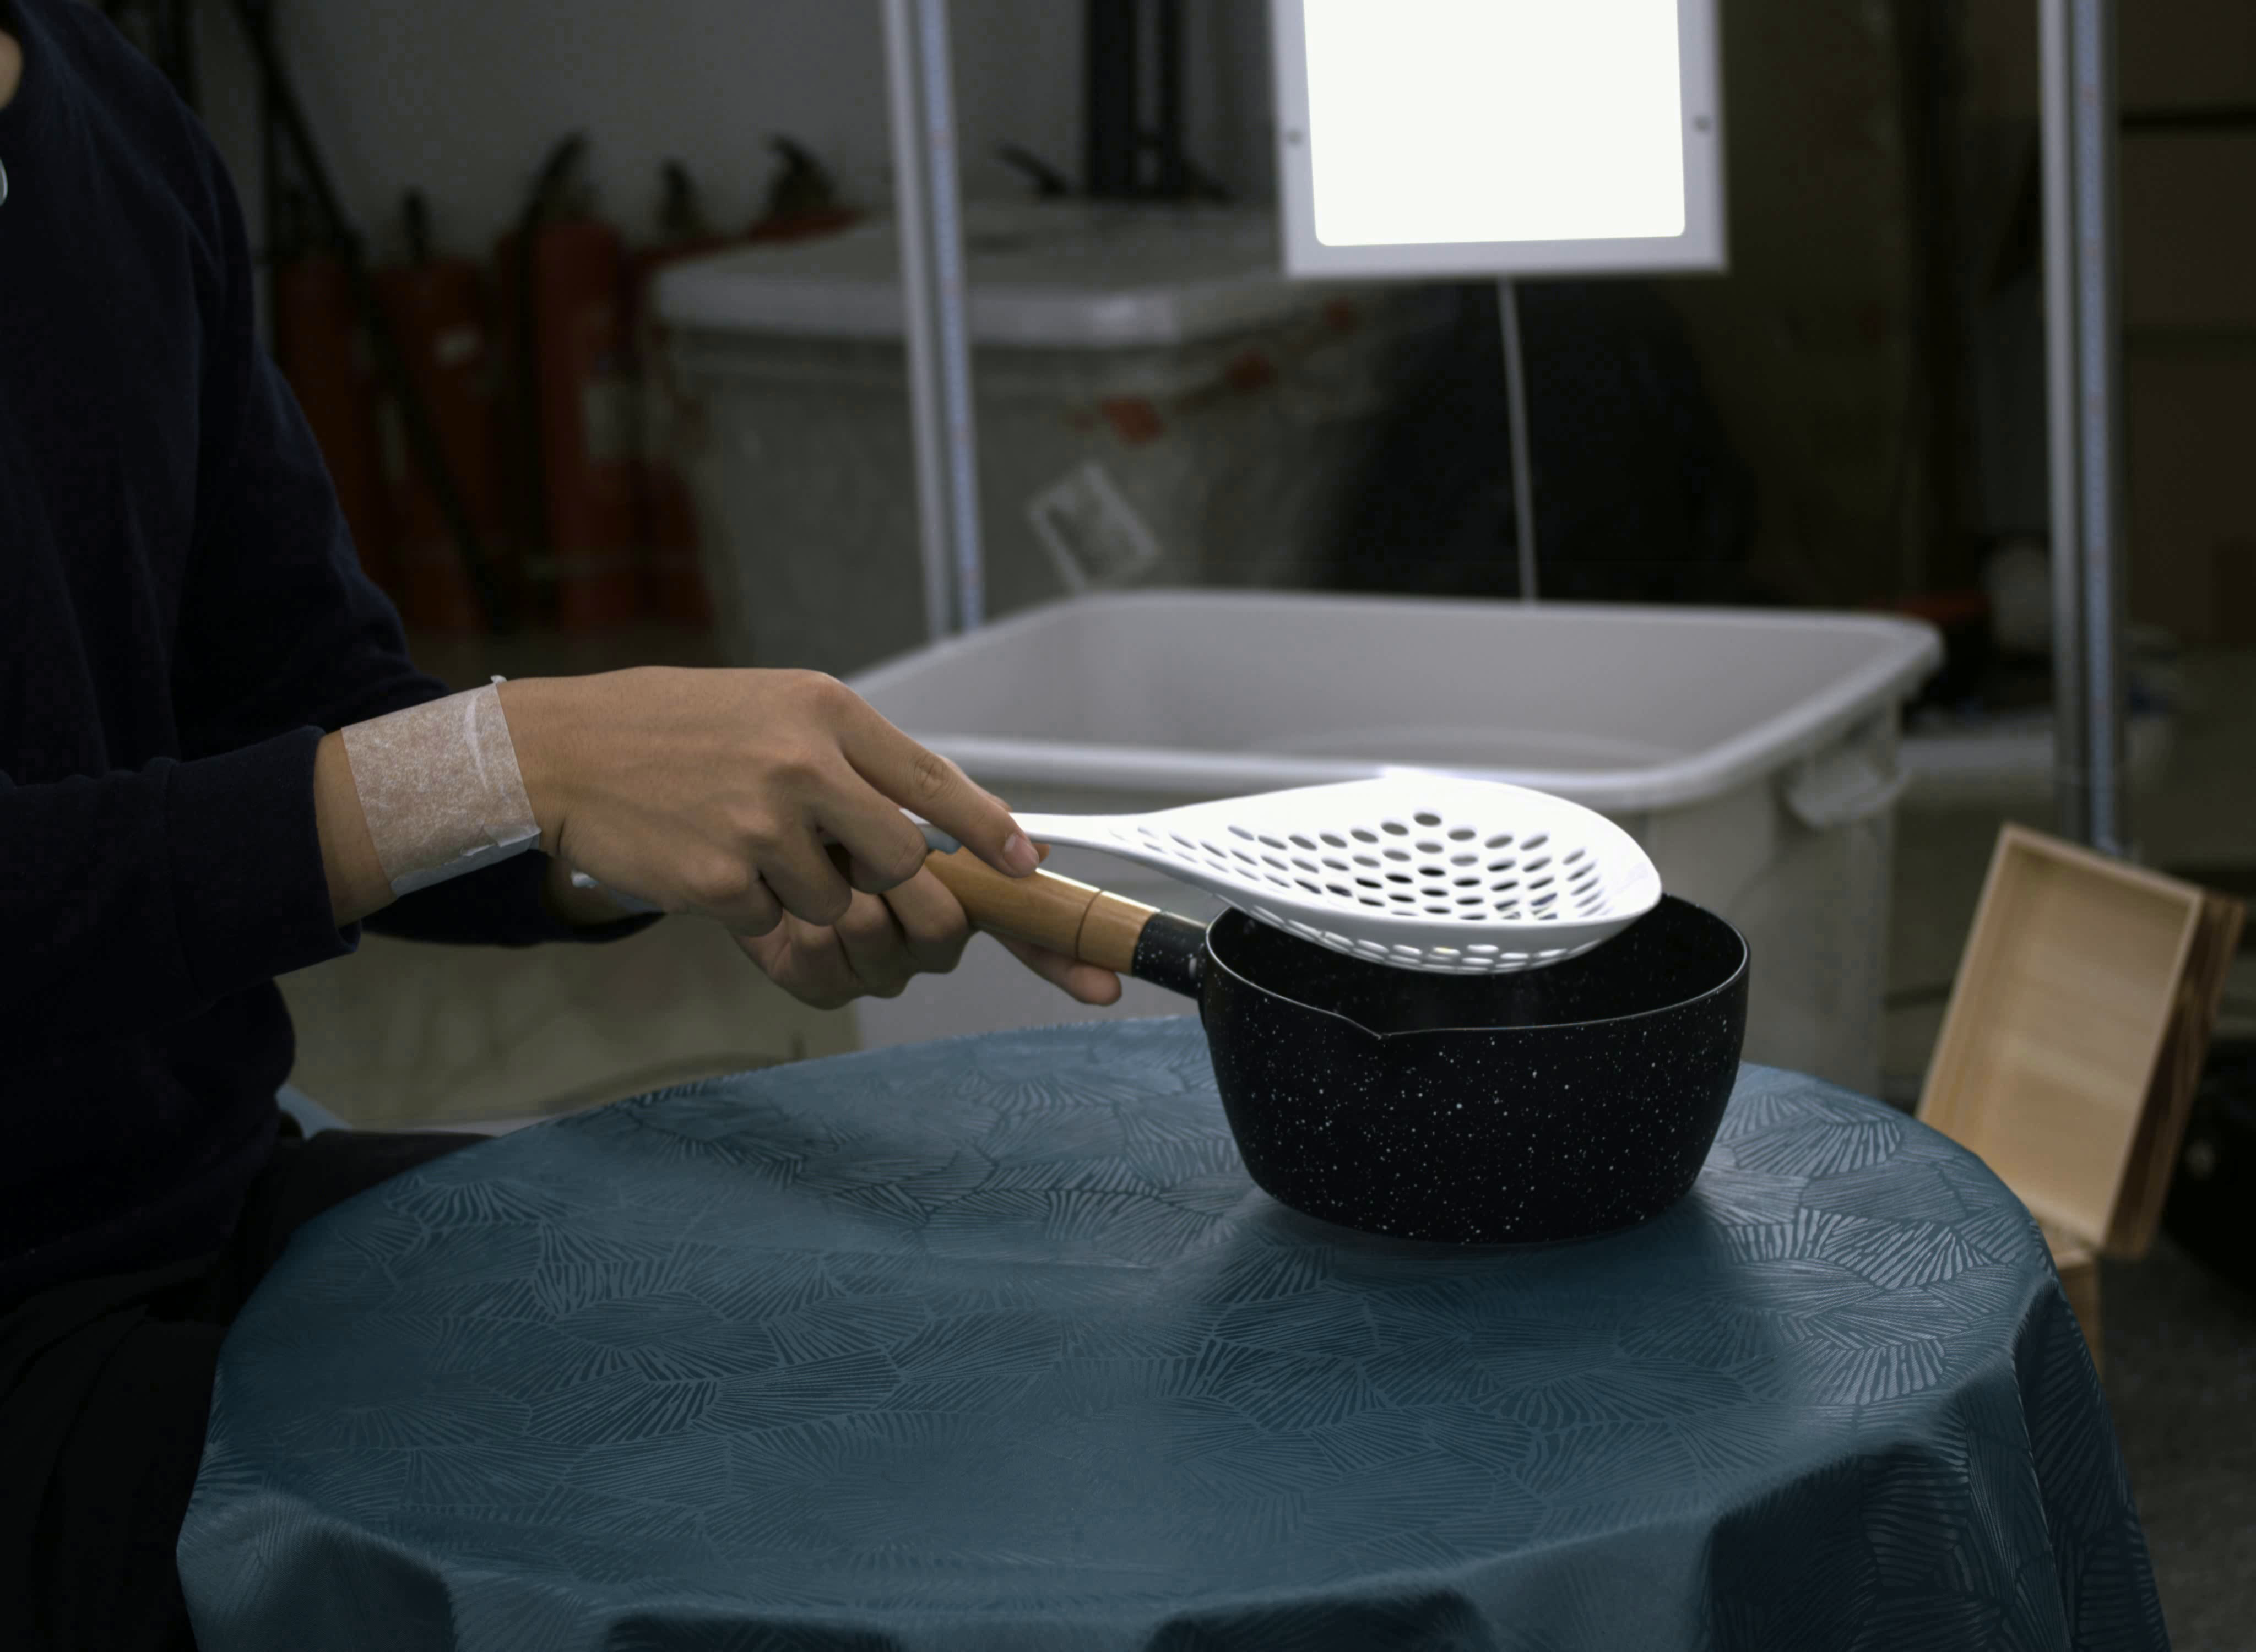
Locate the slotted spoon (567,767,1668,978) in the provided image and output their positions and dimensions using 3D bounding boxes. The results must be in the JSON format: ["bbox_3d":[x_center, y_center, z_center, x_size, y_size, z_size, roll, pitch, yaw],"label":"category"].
[{"bbox_3d":[-0.002,0.013,1.743,0.345,0.050,0.137,6,20,-7],"label":"slotted spoon"}]

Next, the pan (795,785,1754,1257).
[{"bbox_3d":[0.042,0.059,1.877,0.347,0.109,0.204,7,19,20],"label":"pan"}]
